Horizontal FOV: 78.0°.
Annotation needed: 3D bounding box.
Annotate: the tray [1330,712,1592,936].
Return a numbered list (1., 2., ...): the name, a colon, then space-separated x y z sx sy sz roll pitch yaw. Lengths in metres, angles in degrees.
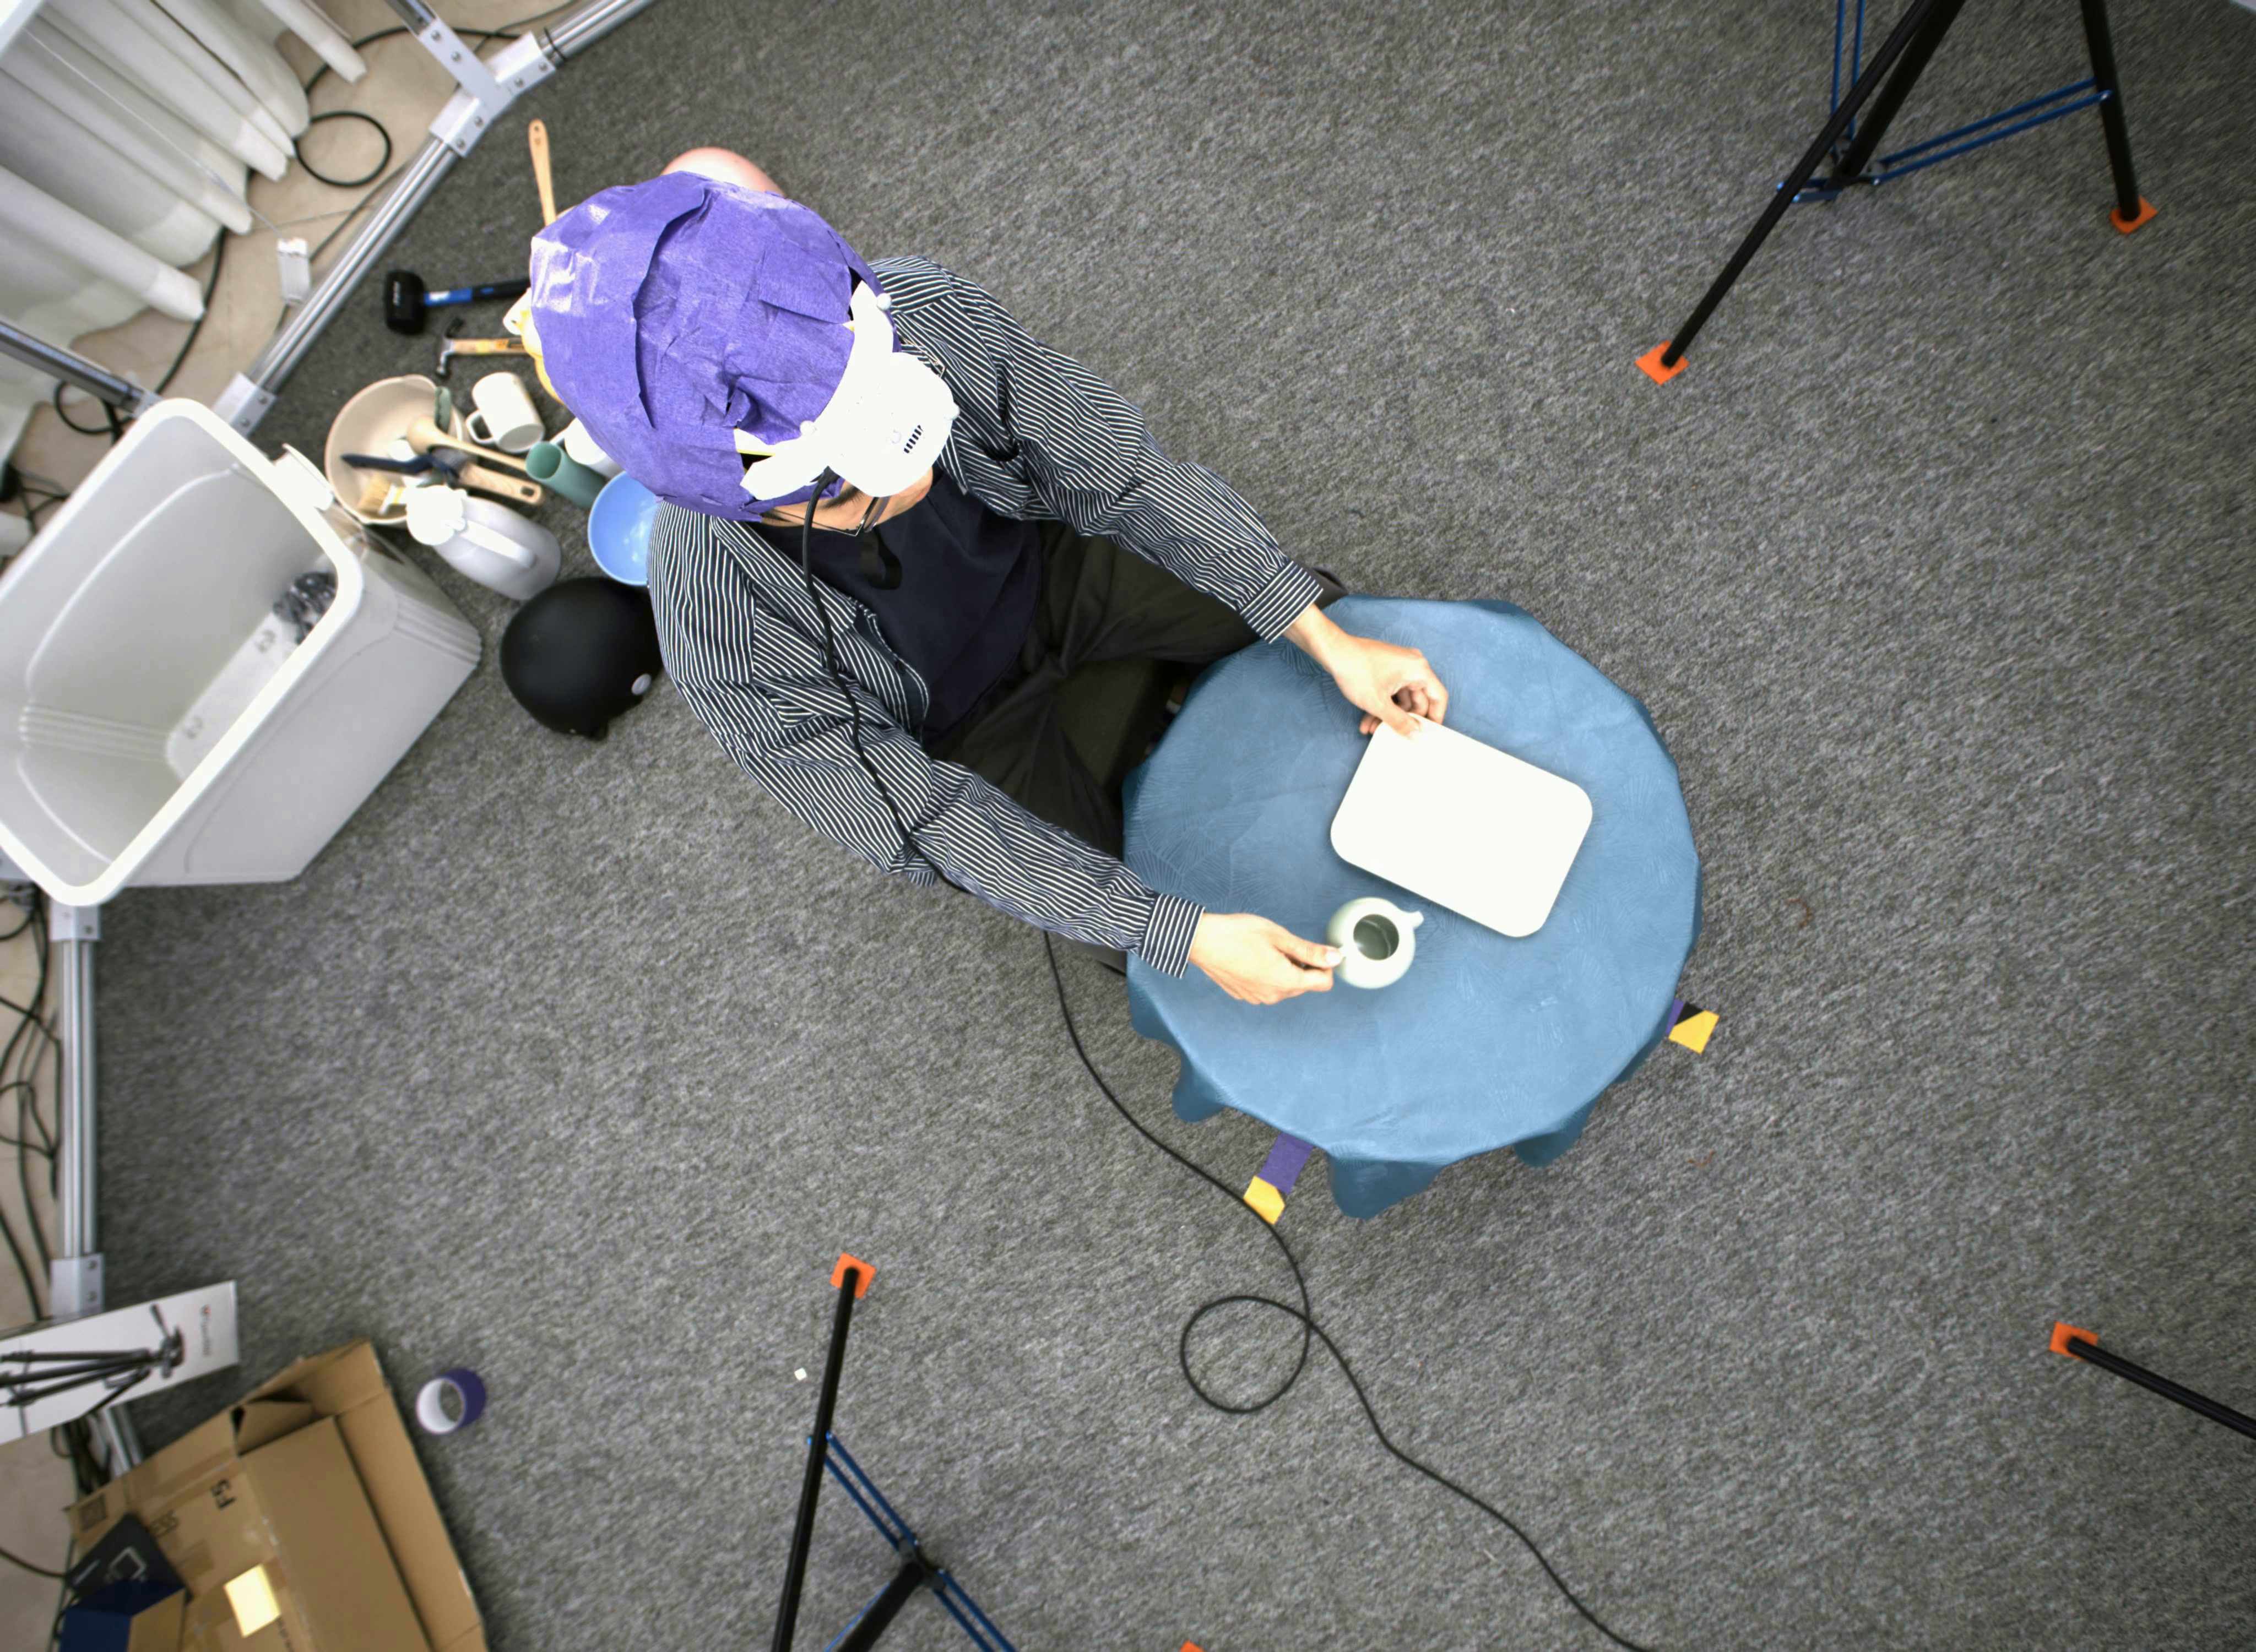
1. tray: 0.342 -0.004 1.419 0.239 0.017 0.171 25 93 7

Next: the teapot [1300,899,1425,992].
1. teapot: 0.229 0.120 1.365 0.128 0.062 0.091 -18 81 -12
